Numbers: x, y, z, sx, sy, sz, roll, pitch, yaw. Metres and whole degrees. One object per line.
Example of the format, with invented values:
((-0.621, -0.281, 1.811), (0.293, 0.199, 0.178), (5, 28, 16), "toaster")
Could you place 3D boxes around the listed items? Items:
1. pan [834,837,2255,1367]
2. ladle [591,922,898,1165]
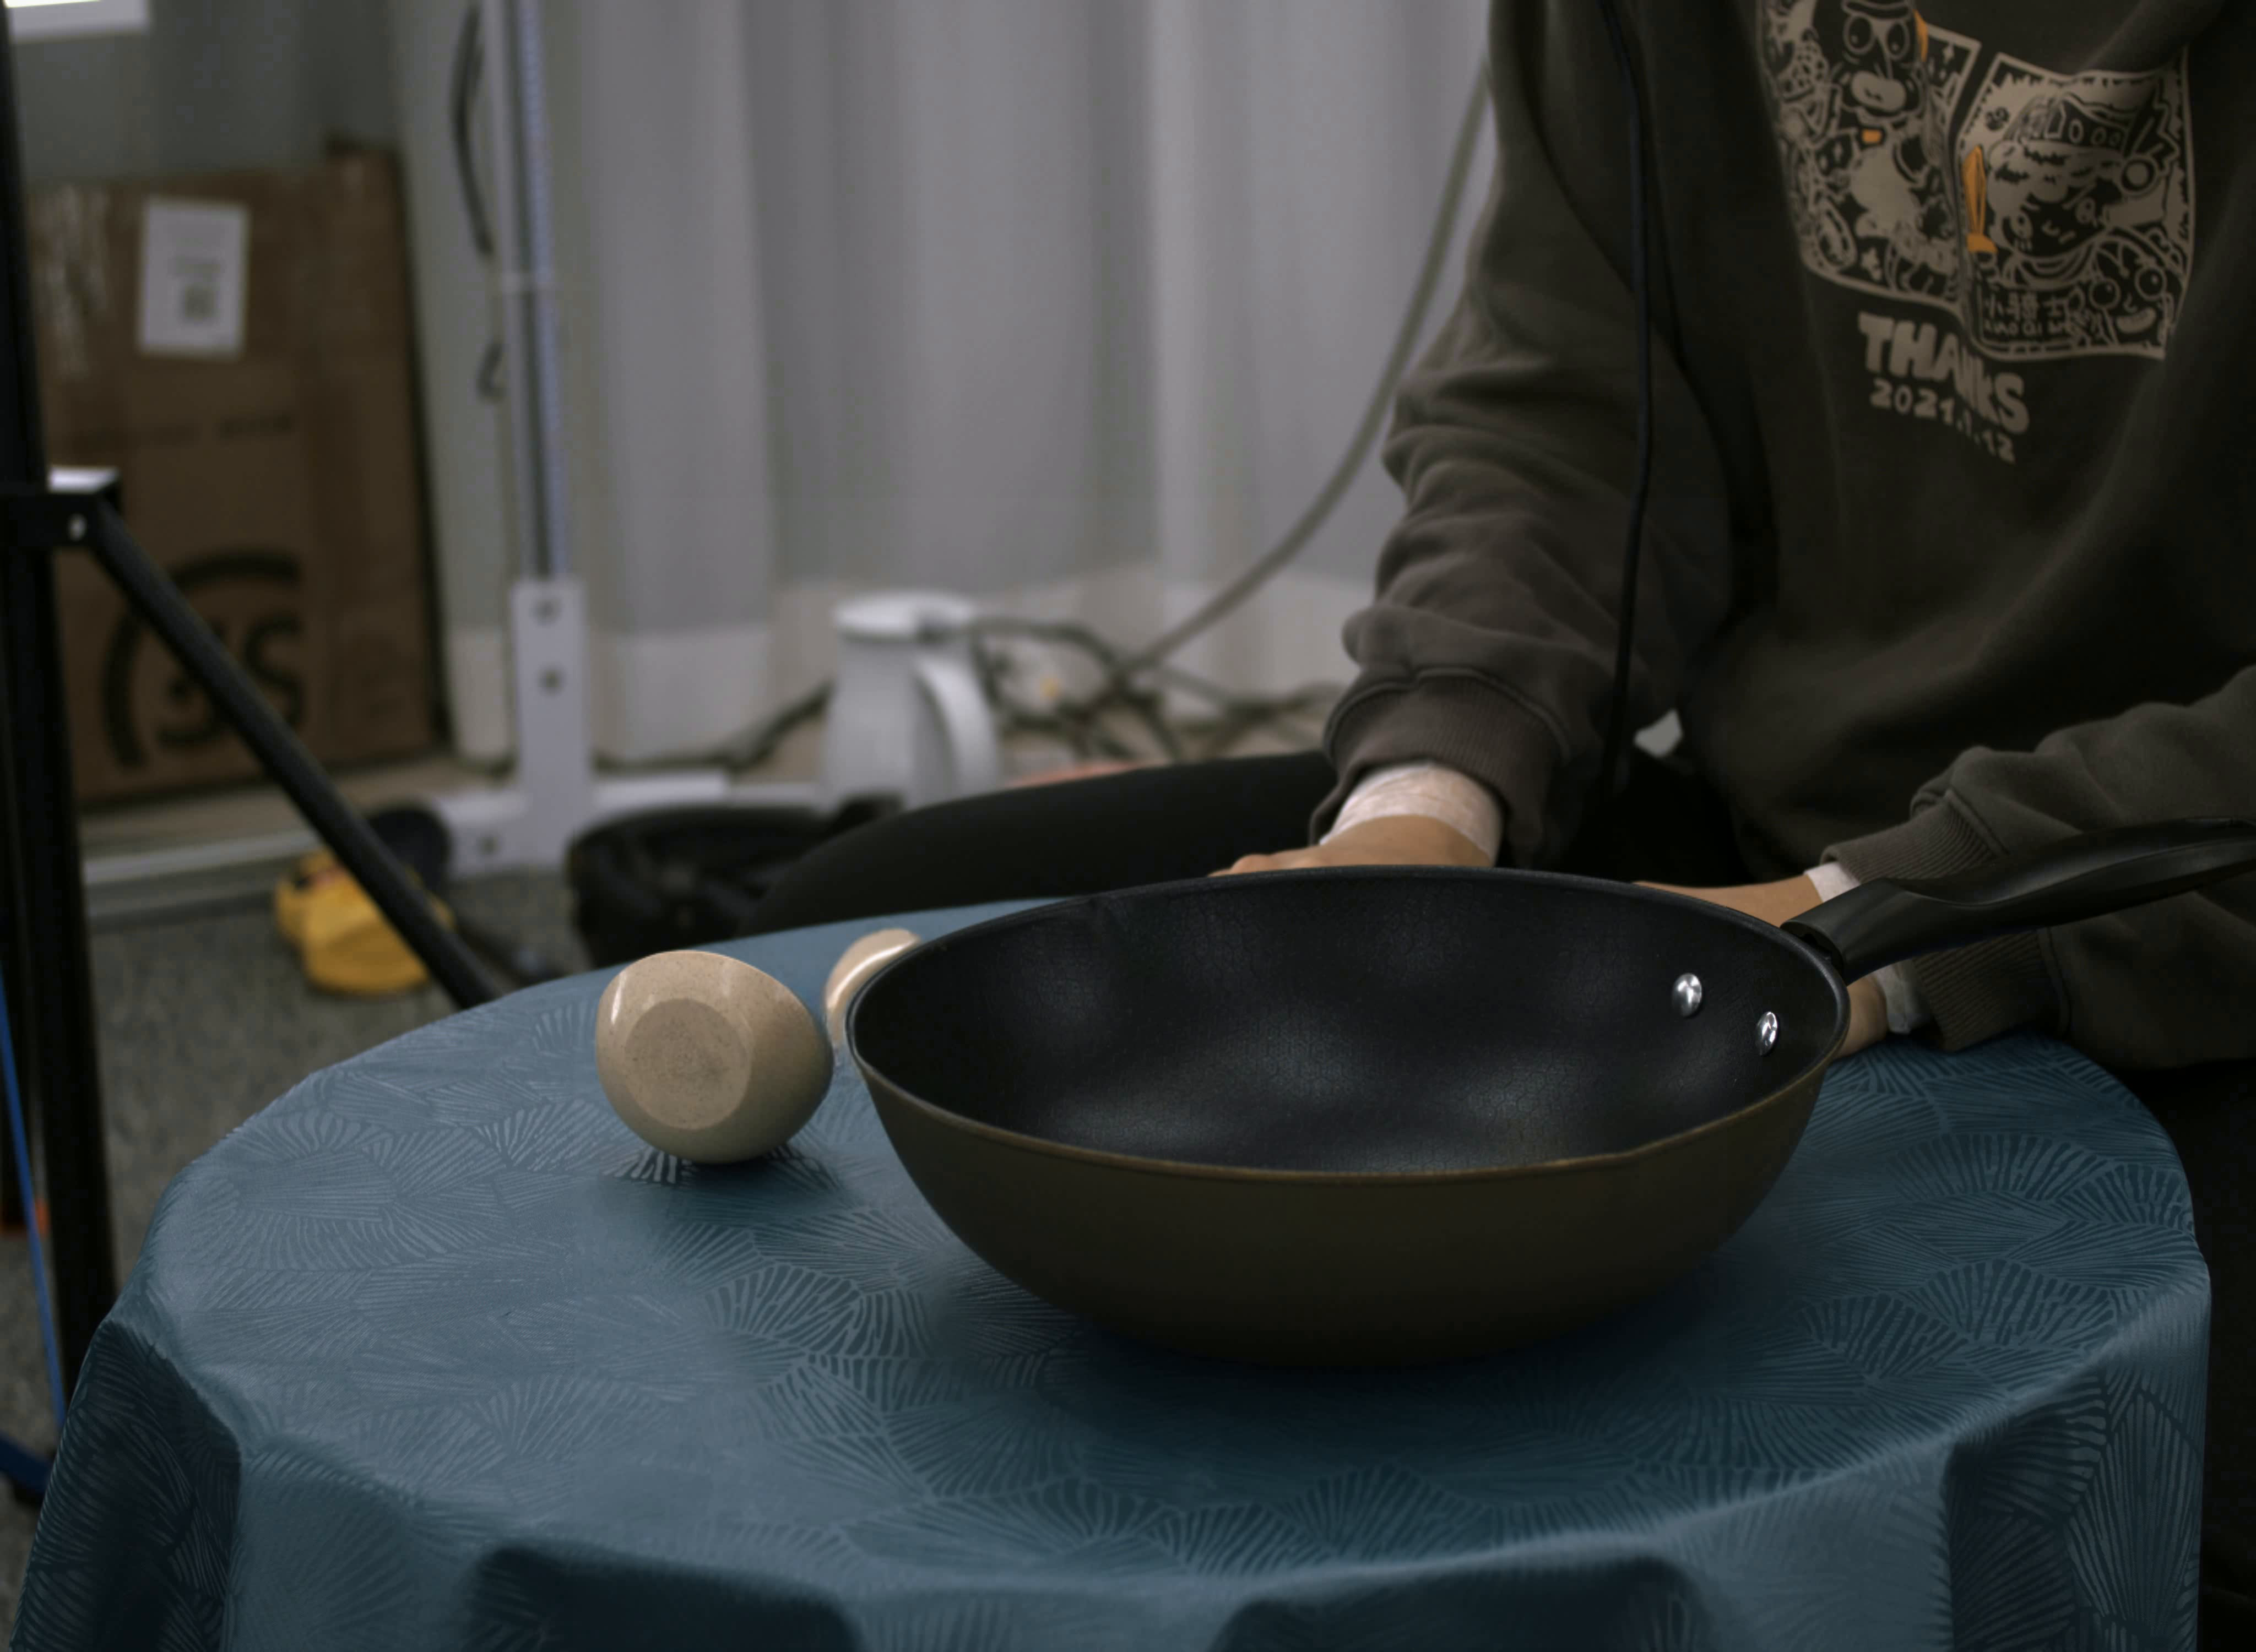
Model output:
((0.139, 0.072, 1.514), (0.454, 0.087, 0.294), (-9, 17, -25), "pan")
((-0.109, 0.039, 1.692), (0.072, 0.073, 0.253), (-1, 17, 11), "ladle")
